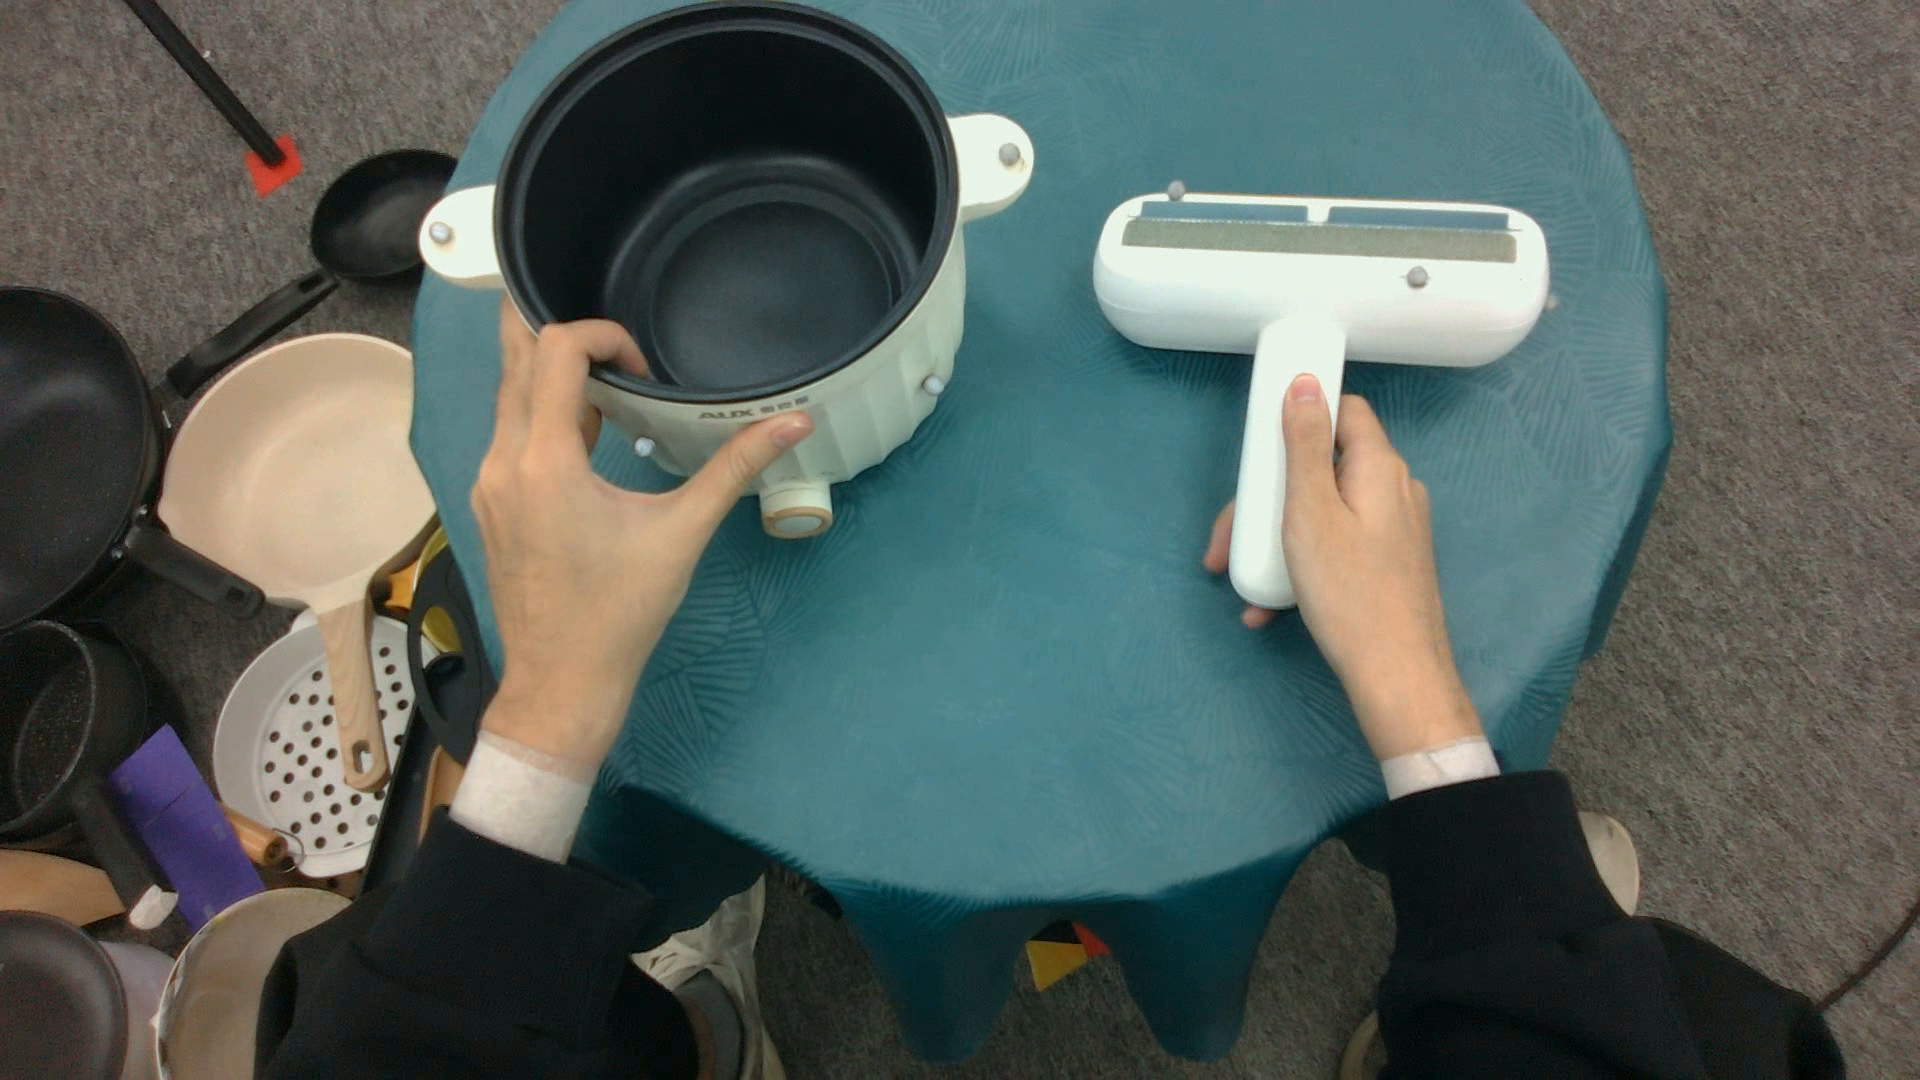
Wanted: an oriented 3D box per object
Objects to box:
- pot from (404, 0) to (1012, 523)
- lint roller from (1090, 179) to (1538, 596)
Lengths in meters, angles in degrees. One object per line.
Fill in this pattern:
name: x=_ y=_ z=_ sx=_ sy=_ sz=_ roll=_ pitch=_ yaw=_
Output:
pot: x=-0.093 y=-0.115 z=0.593 sx=0.240 sy=0.142 sz=0.191 roll=-10 pitch=67 yaw=0
lint roller: x=0.140 y=-0.070 z=0.595 sx=0.193 sy=0.074 sz=0.193 roll=11 pitch=62 yaw=12
